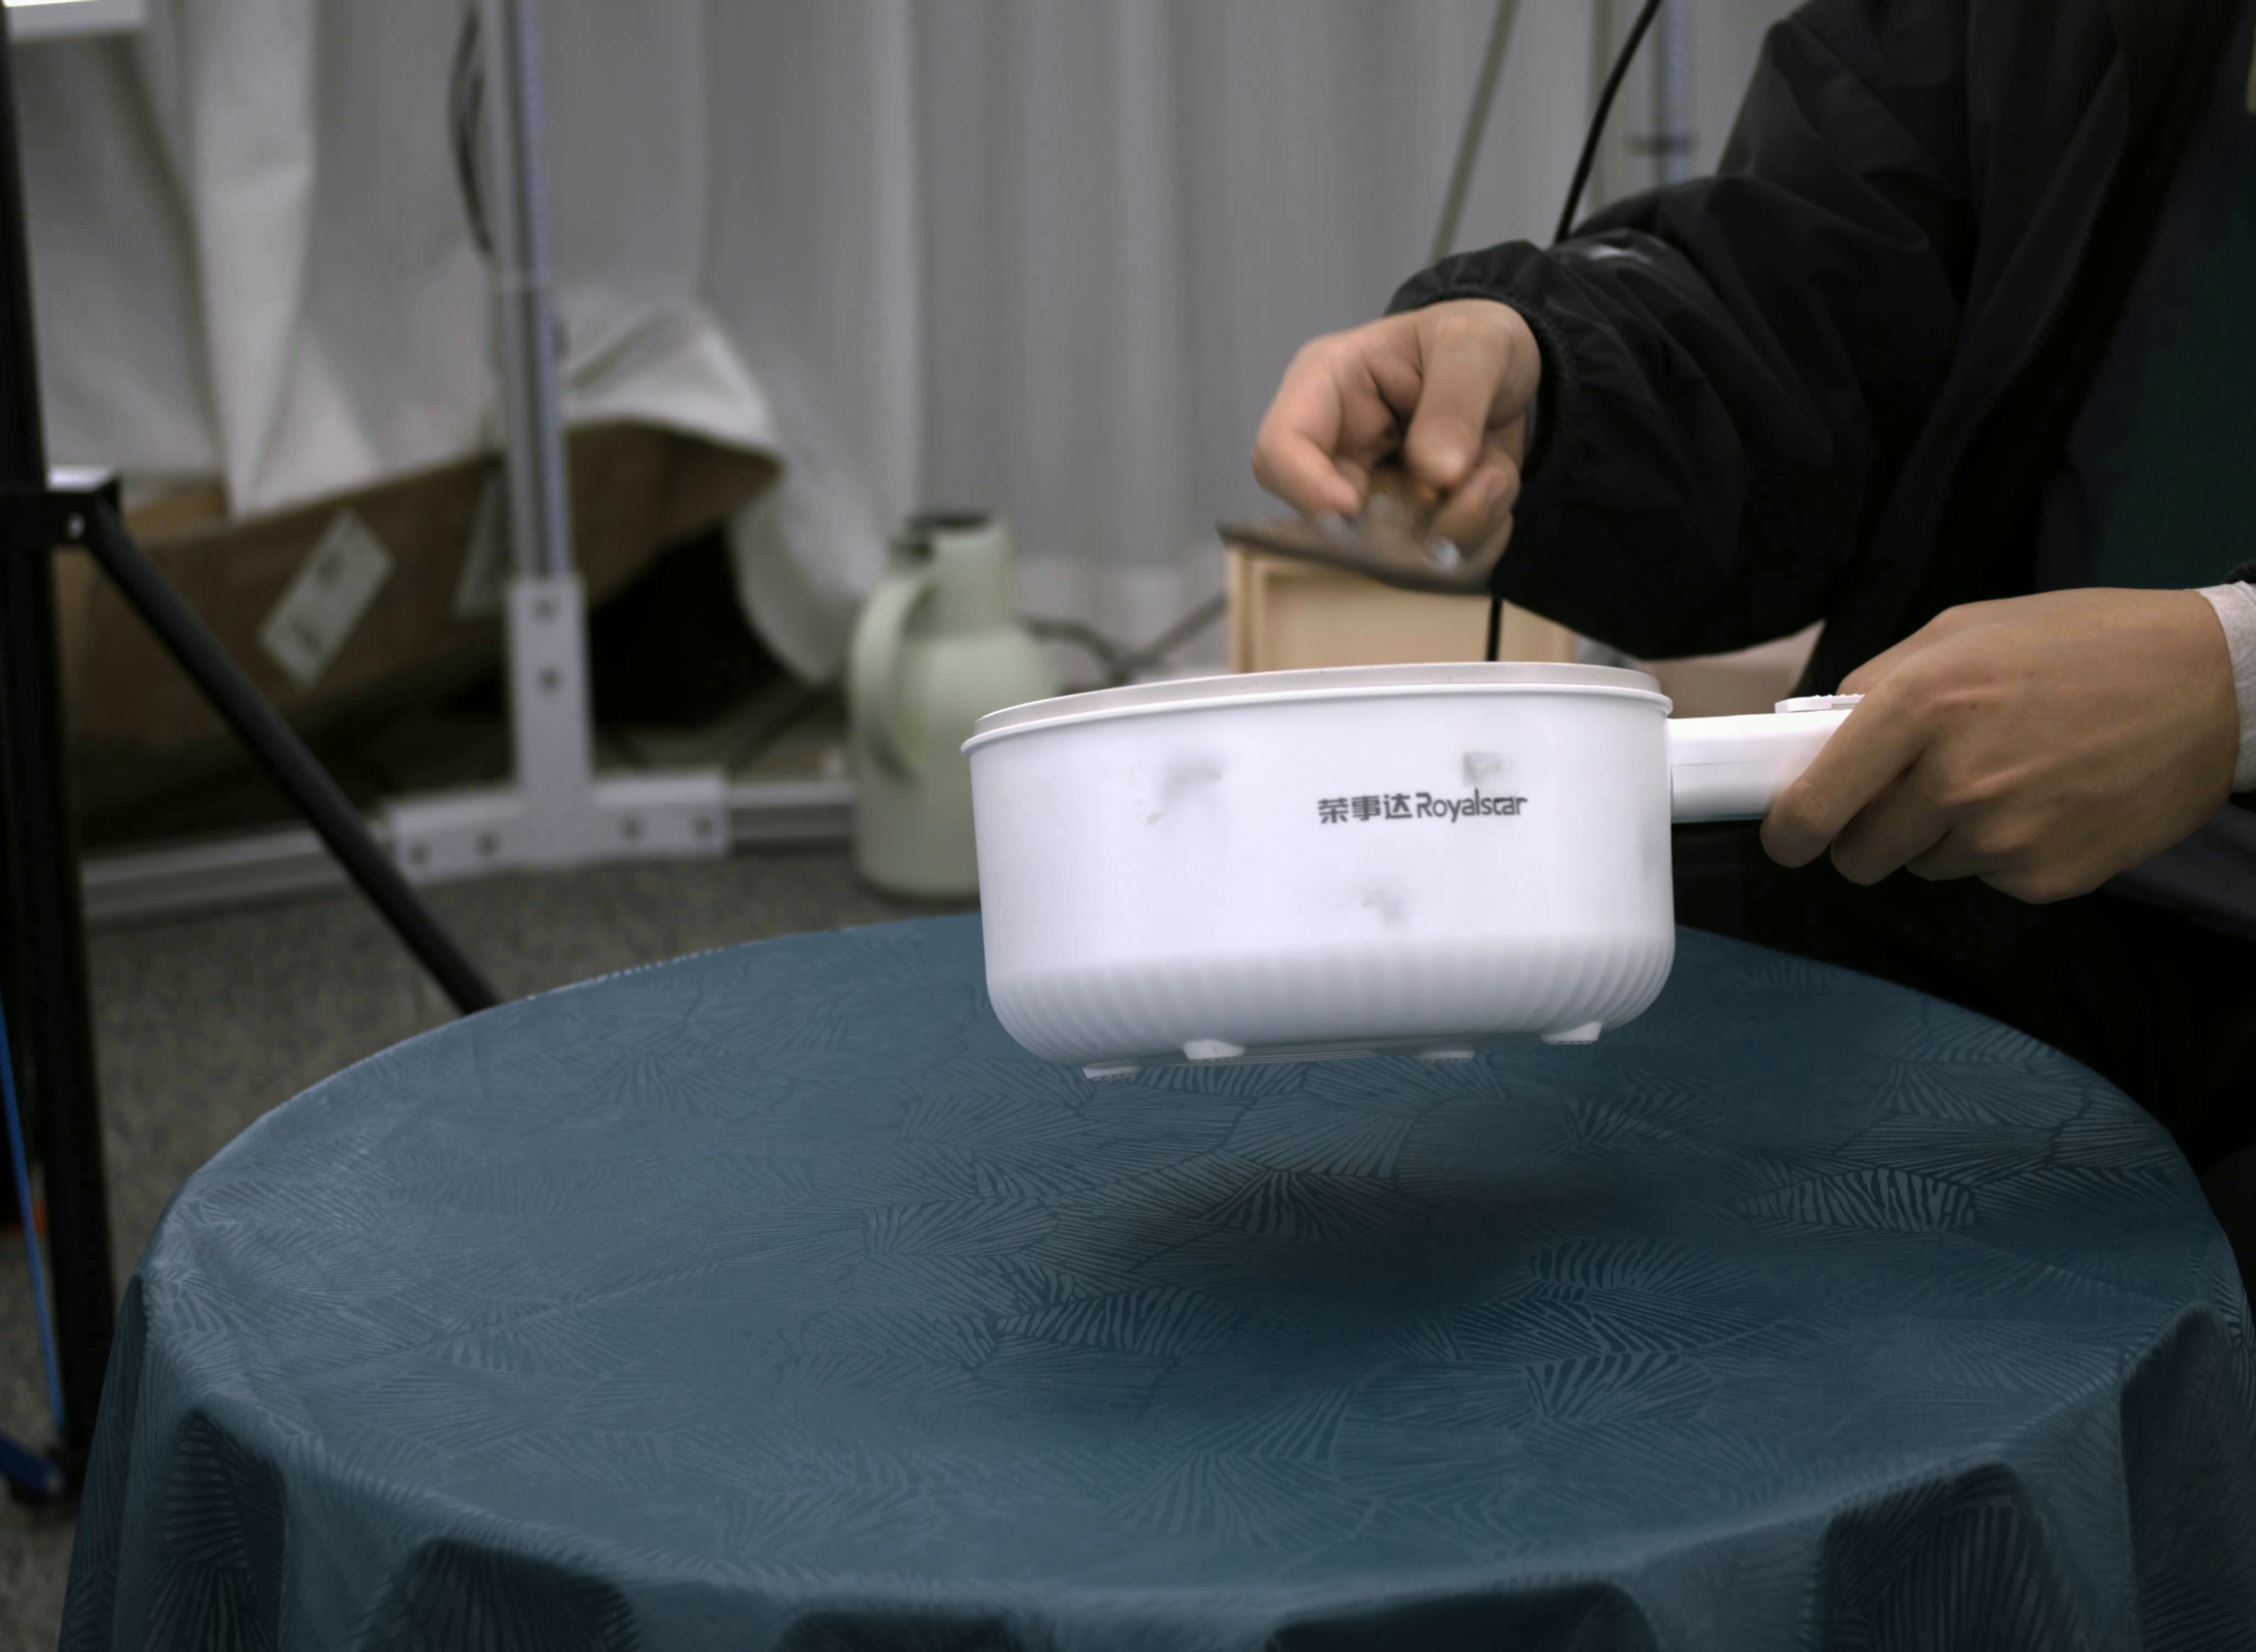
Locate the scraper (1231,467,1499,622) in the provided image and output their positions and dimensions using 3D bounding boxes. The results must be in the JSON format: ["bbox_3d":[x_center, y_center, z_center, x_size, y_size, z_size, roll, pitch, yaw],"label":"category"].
[{"bbox_3d":[0.079,-0.085,1.567,0.076,0.011,0.210,12,14,6],"label":"scraper"}]

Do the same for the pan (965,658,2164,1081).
[{"bbox_3d":[0.129,0.017,1.512,0.349,0.103,0.203,0,-7,-14],"label":"pan"}]
